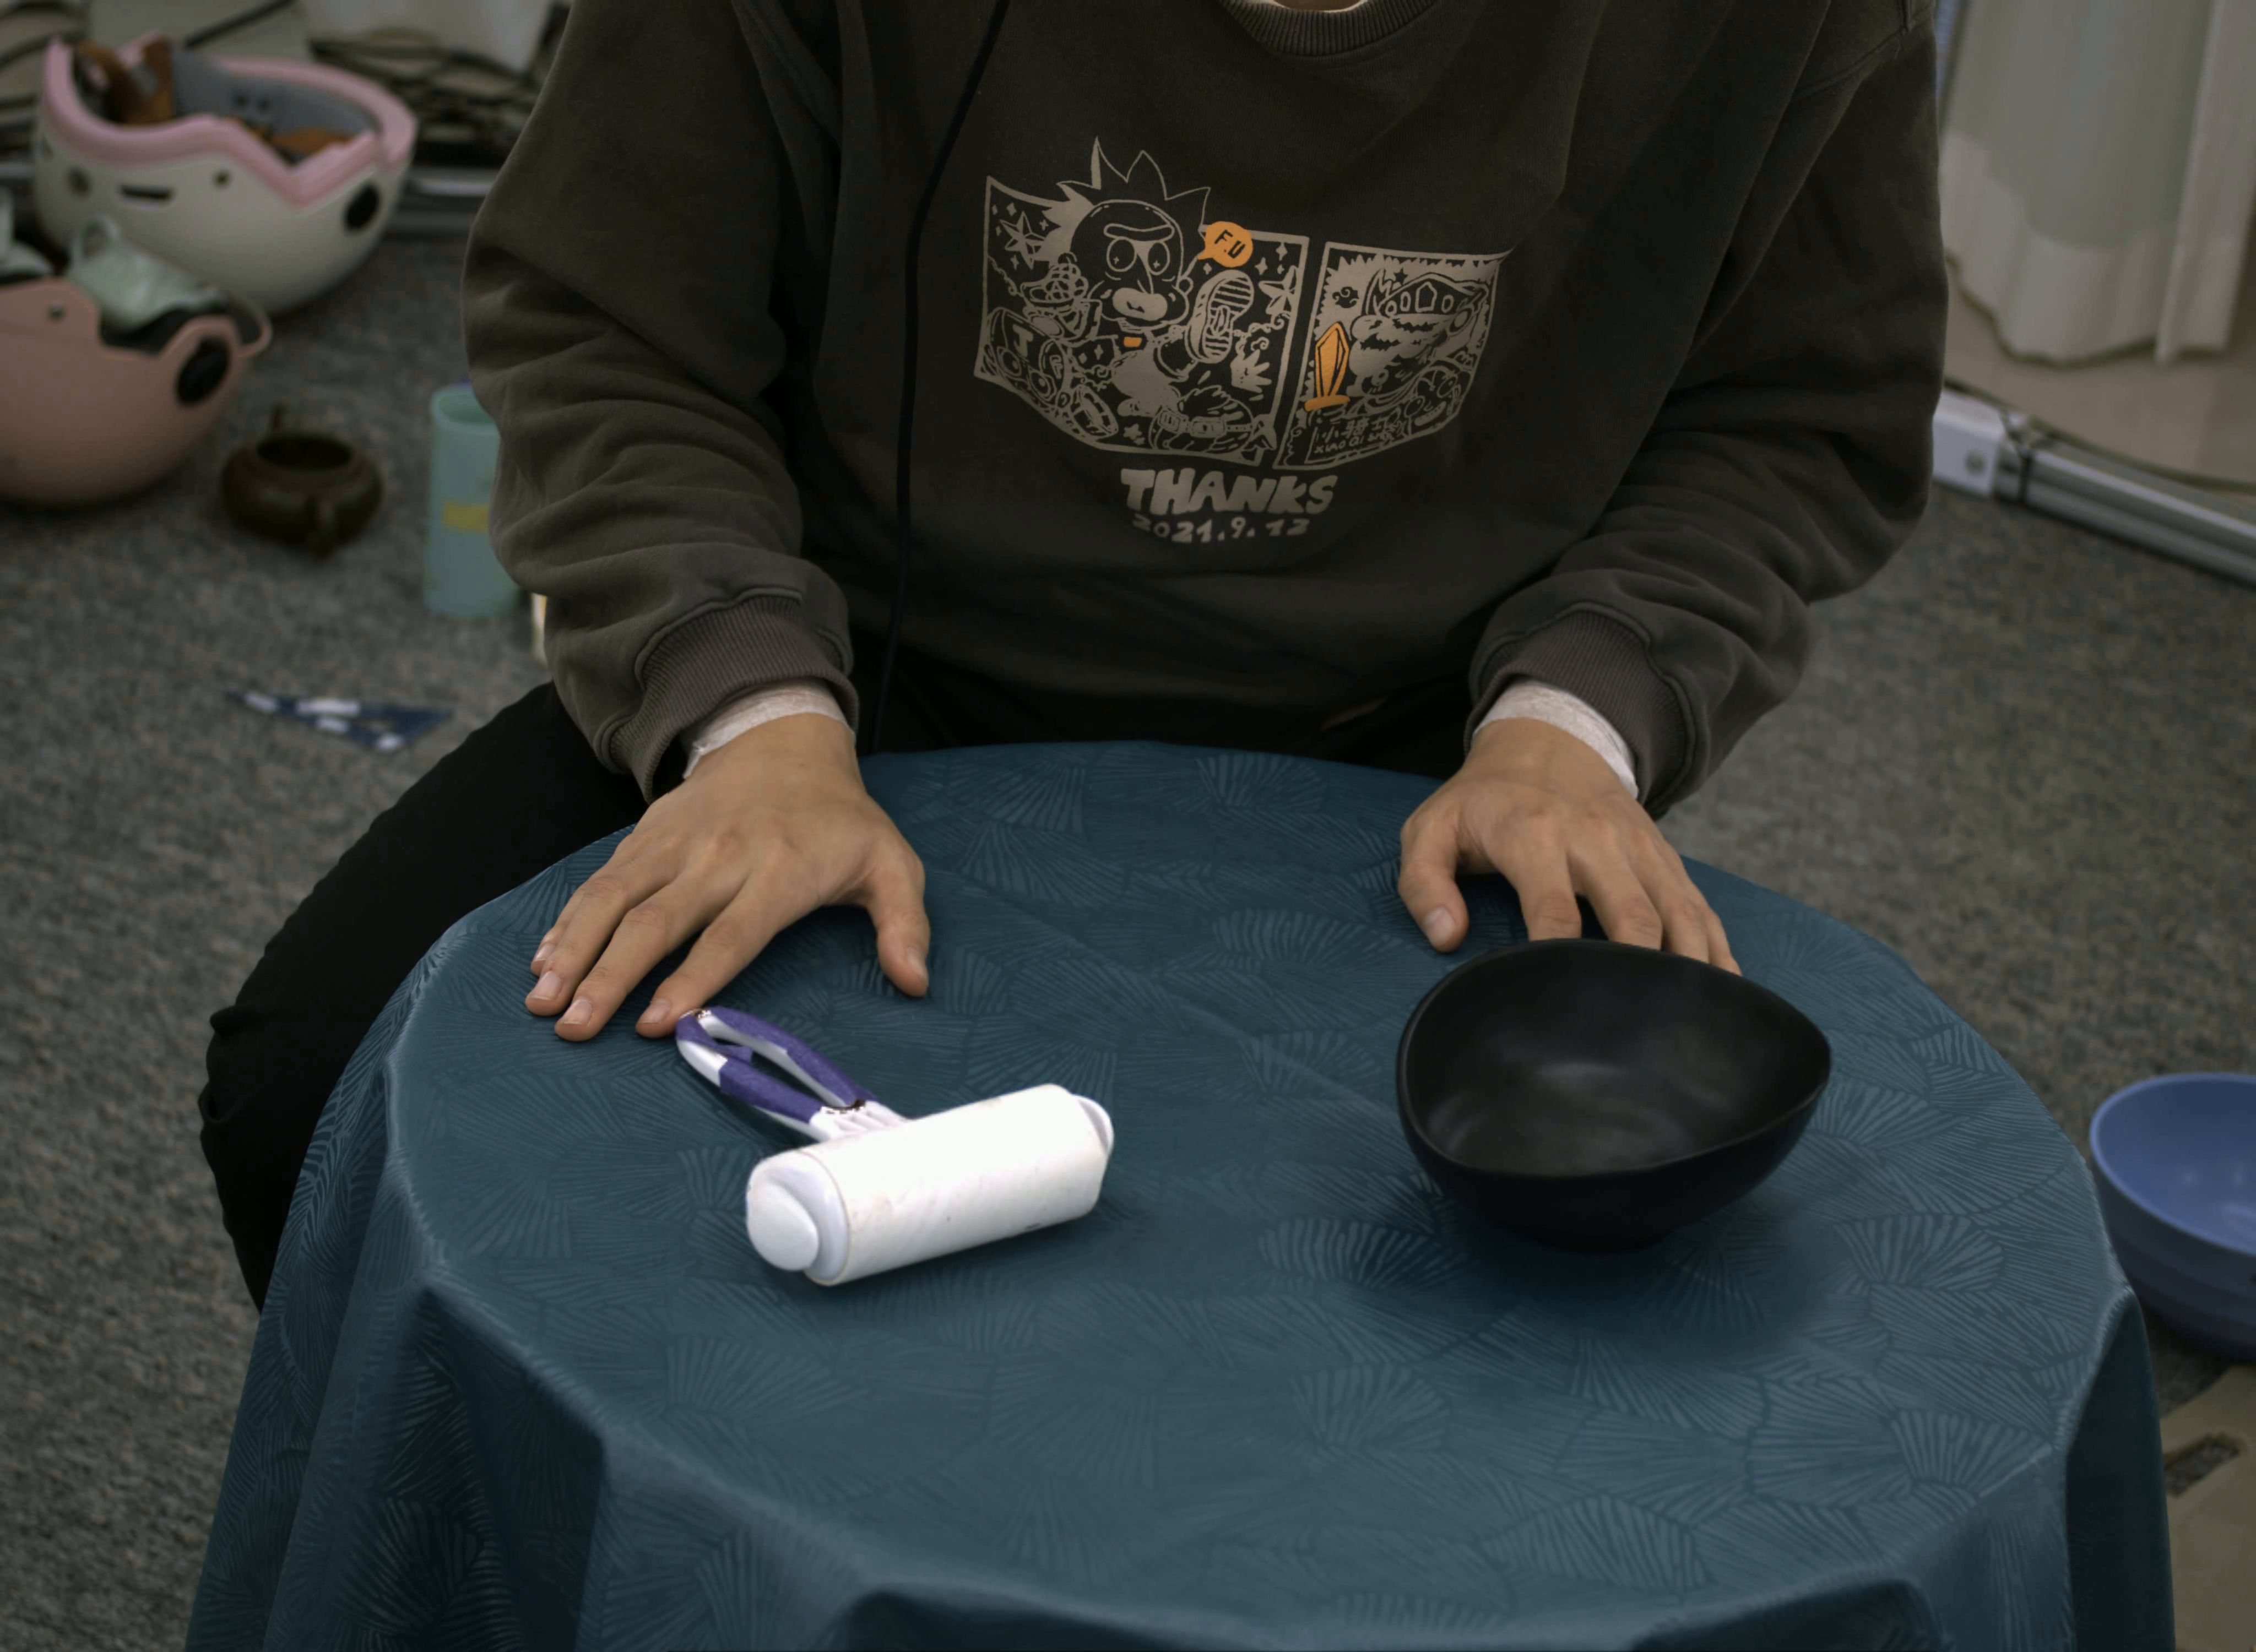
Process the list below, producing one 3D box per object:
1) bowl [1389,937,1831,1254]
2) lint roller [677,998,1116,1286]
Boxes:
[{"bbox_3d":[0.162,0.102,1.814,0.138,0.066,0.169,24,33,34],"label":"bowl"},{"bbox_3d":[-0.098,0.088,1.798,0.132,0.050,0.182,-12,34,-31],"label":"lint roller"}]
